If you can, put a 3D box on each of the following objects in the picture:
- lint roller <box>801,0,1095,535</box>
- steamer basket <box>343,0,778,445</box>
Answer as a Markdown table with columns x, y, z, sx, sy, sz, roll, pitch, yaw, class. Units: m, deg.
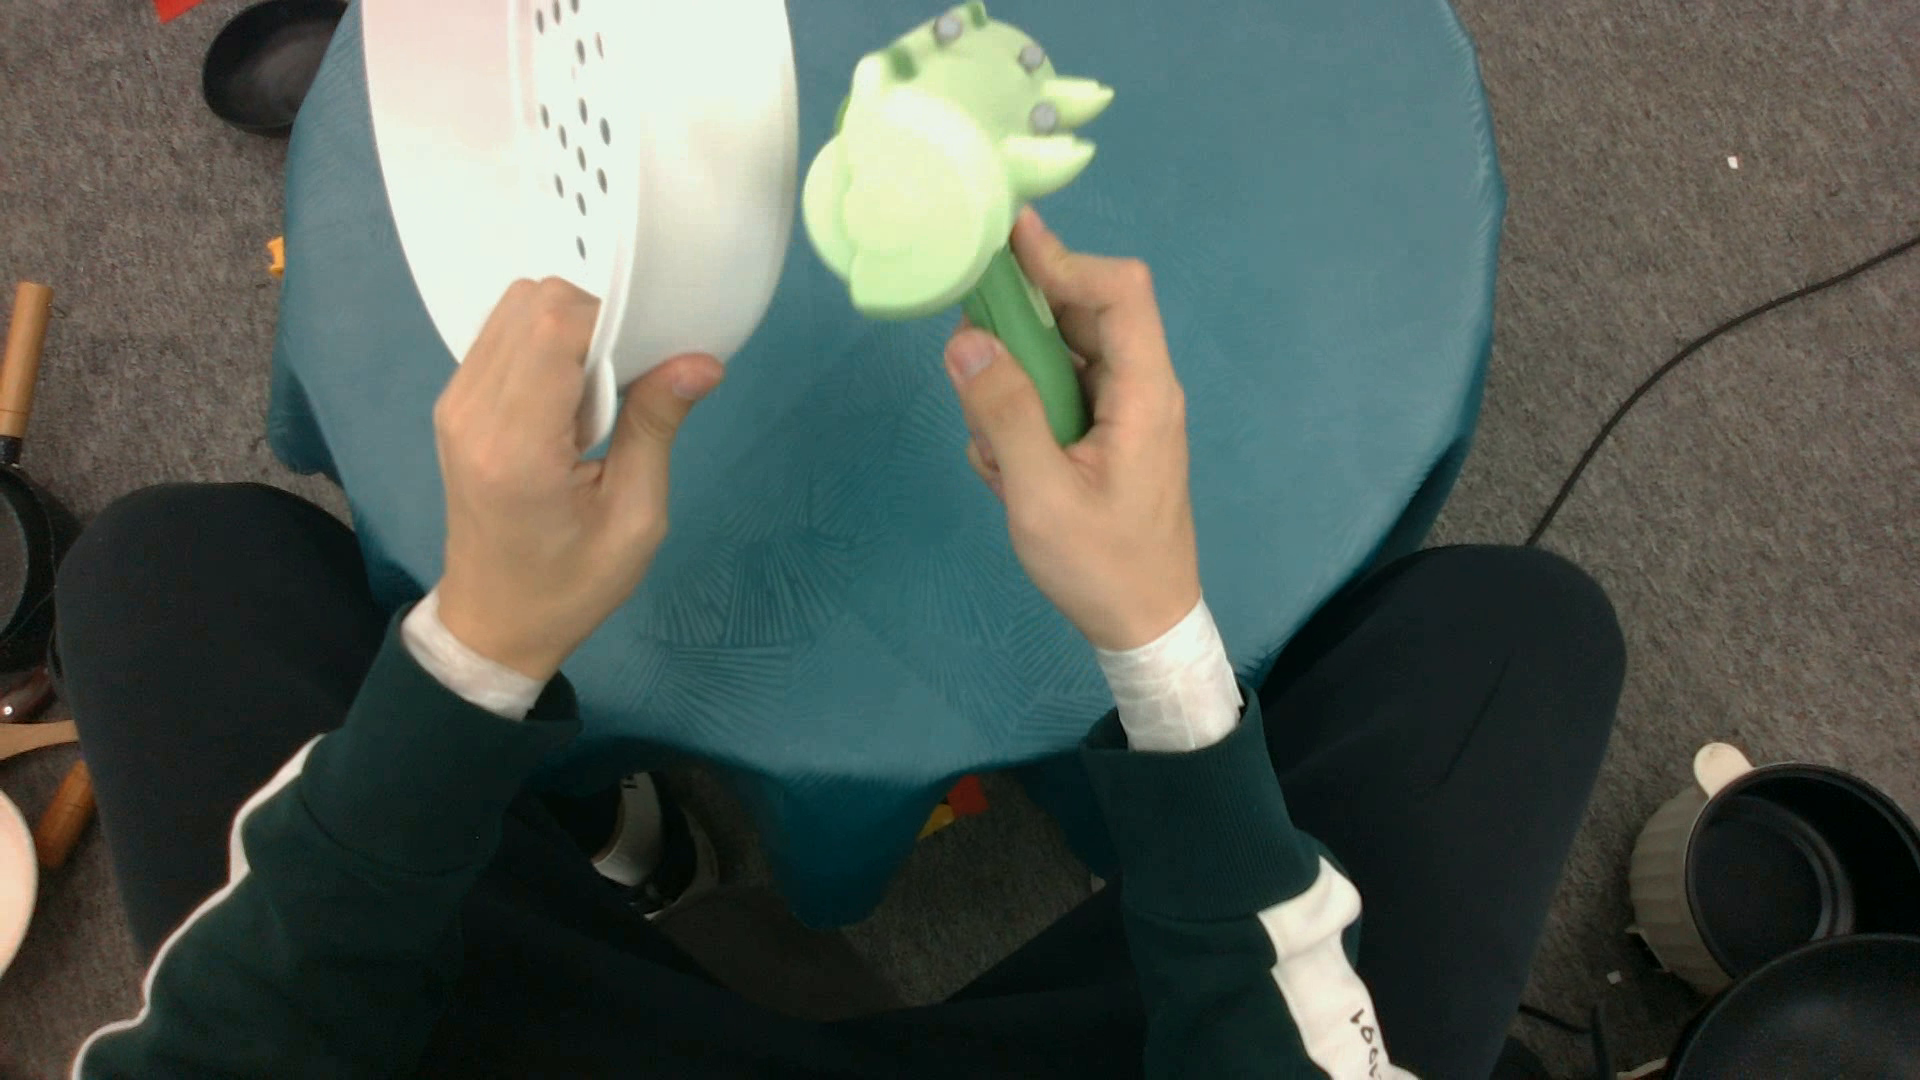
| x | y | z | sx | sy | sz | roll | pitch | yaw | class |
| --- | --- | --- | --- | --- | --- | --- | --- | --- | --- |
| 0.024 | -0.089 | 0.452 | 0.082 | 0.199 | 0.183 | -25 | 111 | 16 | lint roller |
| -0.138 | -0.150 | 0.460 | 0.069 | 0.201 | 0.230 | -14 | 89 | -39 | steamer basket |
